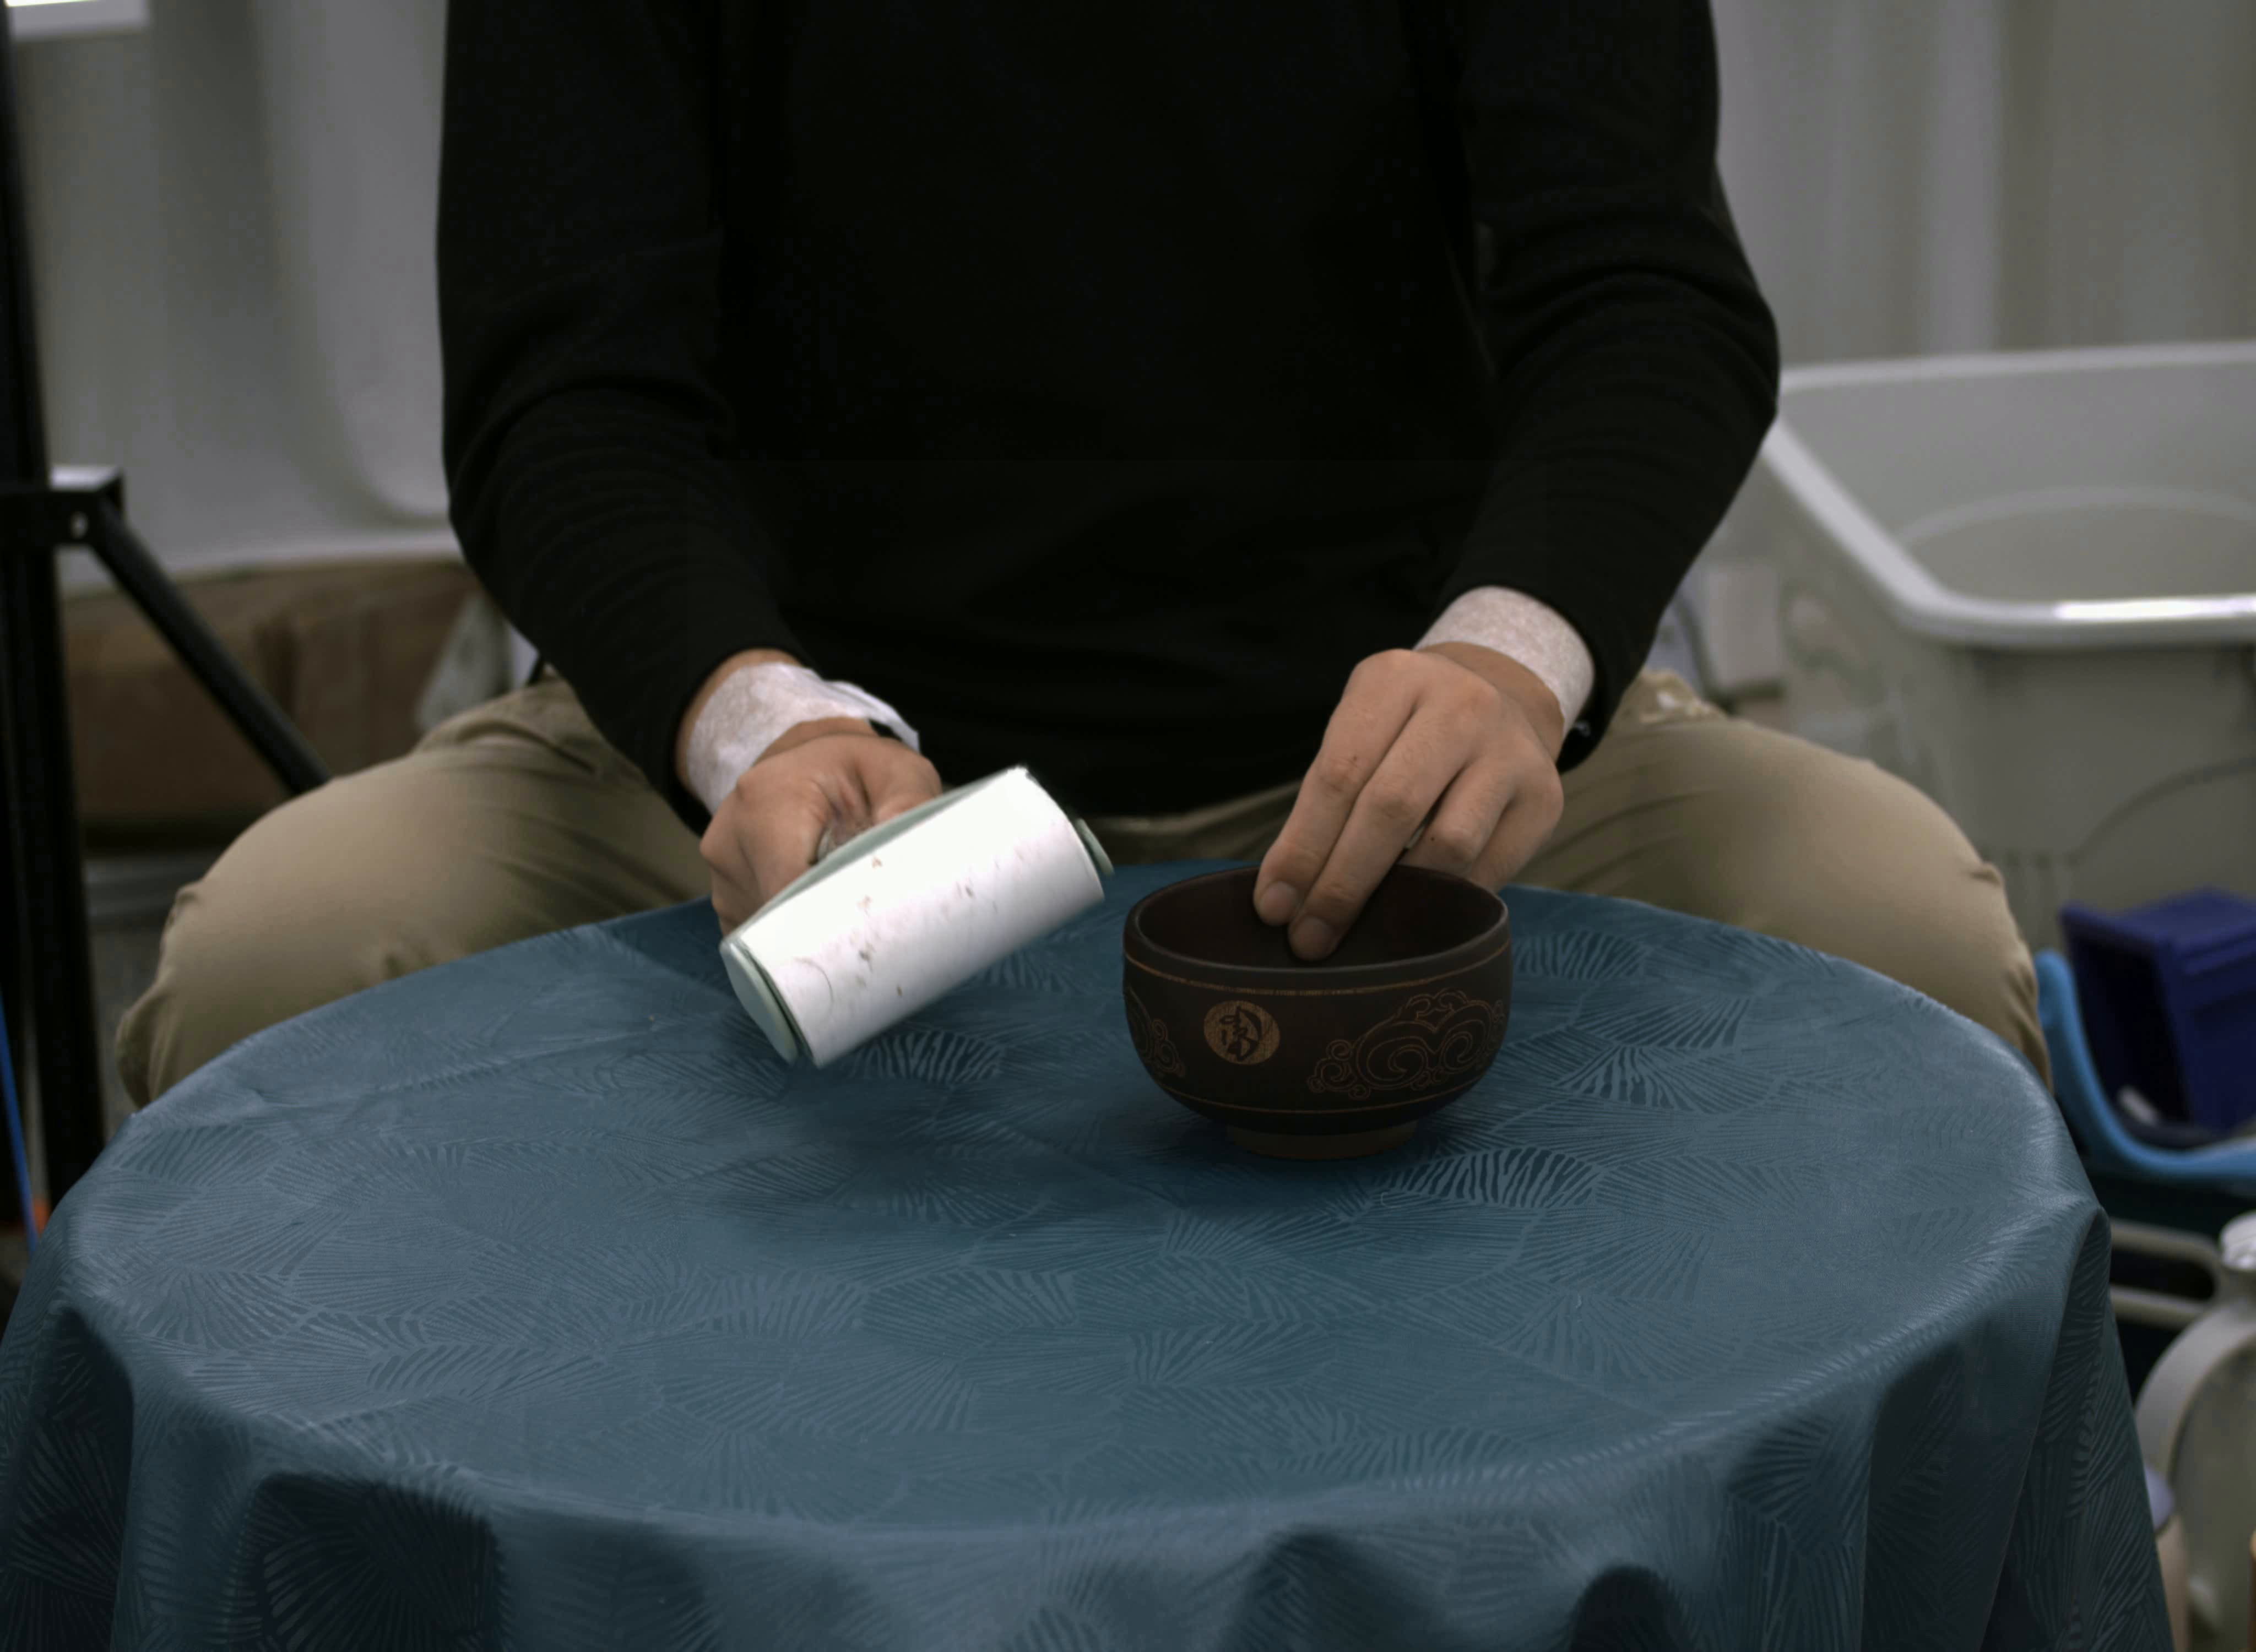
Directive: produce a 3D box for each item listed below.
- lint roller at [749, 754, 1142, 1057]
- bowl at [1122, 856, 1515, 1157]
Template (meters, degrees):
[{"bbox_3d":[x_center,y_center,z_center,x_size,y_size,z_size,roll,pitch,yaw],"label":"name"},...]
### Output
[{"bbox_3d":[-0.067,0.018,1.652,0.116,0.048,0.199,-32,10,-8],"label":"lint roller"},{"bbox_3d":[0.058,0.058,1.592,0.117,0.070,0.118,-3,15,-1],"label":"bowl"}]
